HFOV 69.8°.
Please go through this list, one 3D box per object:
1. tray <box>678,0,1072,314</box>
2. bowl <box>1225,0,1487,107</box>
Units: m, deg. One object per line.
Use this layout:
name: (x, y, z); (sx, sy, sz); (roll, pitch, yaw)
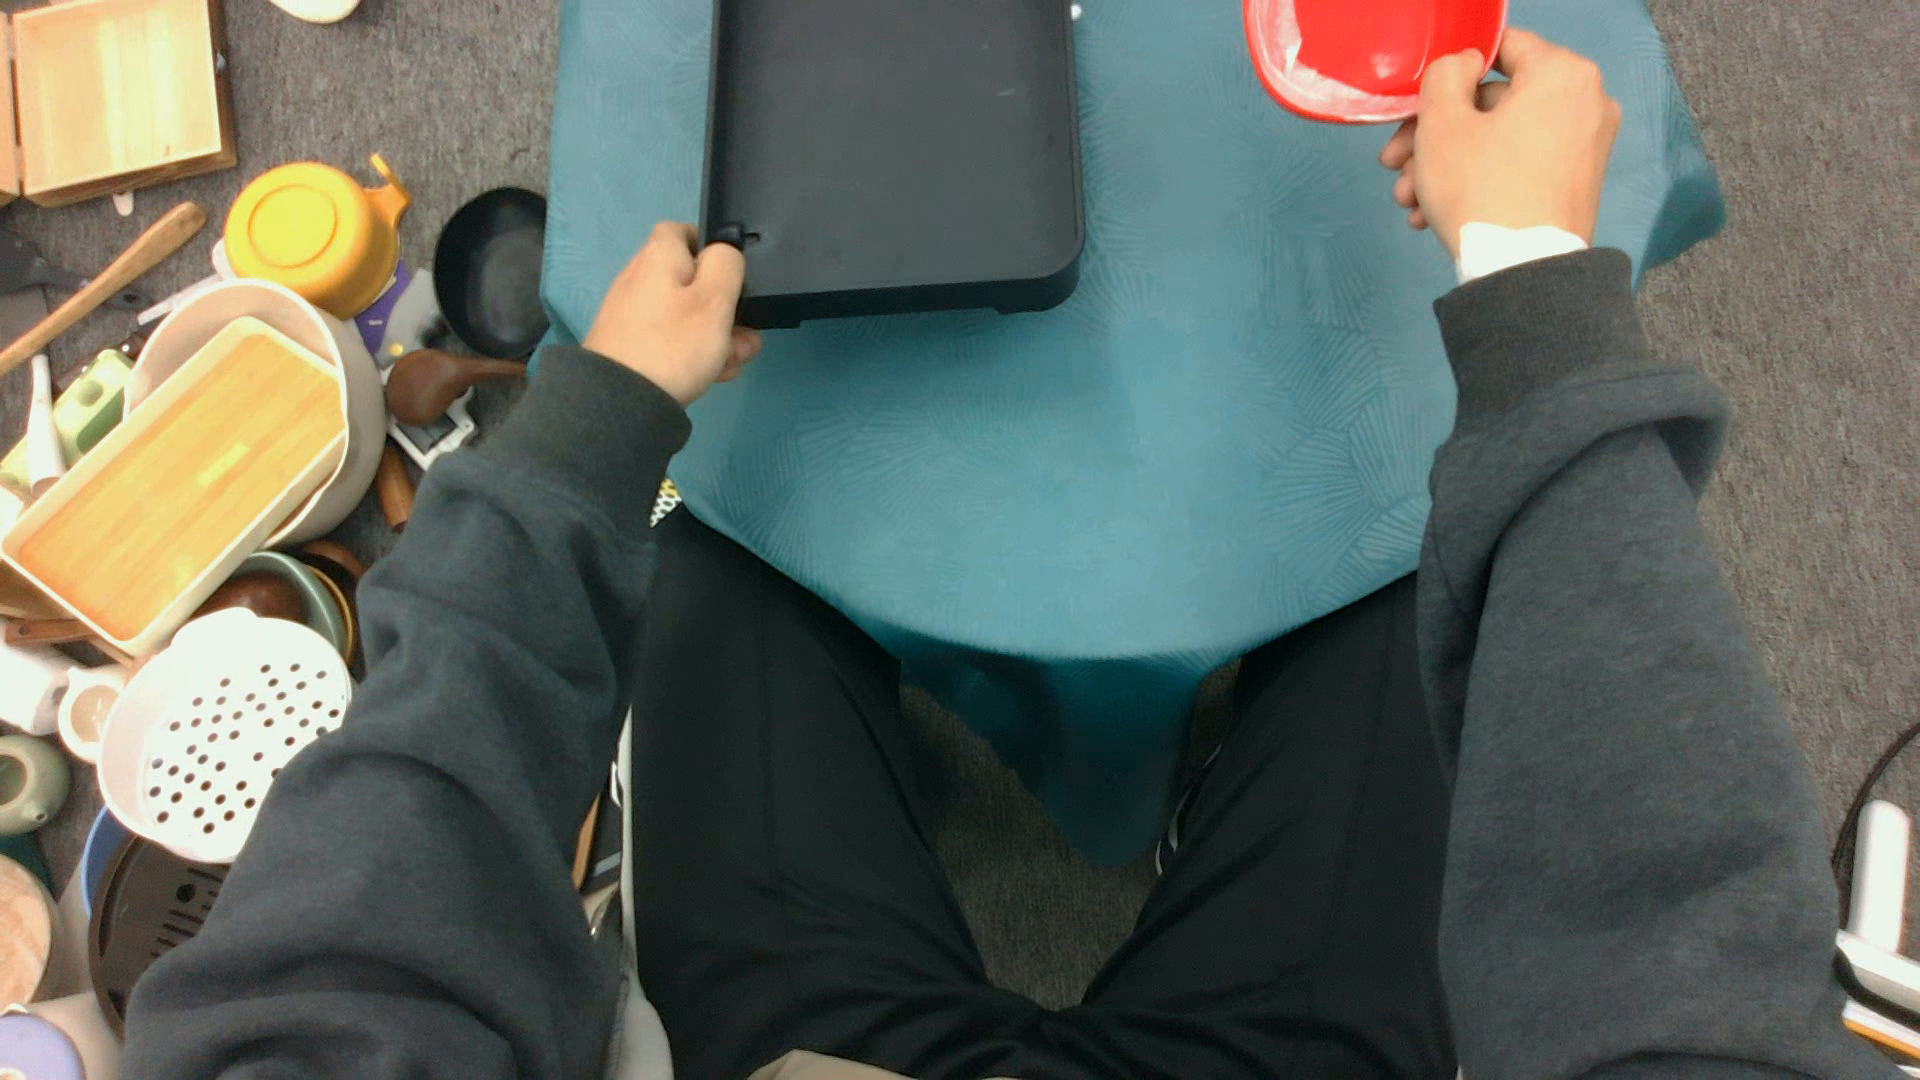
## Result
tray: (-0.045, -0.262, 0.706); (0.184, 0.037, 0.319); (-4, 66, 3)
bowl: (0.170, -0.241, 0.607); (0.119, 0.051, 0.119); (0, 91, 5)
